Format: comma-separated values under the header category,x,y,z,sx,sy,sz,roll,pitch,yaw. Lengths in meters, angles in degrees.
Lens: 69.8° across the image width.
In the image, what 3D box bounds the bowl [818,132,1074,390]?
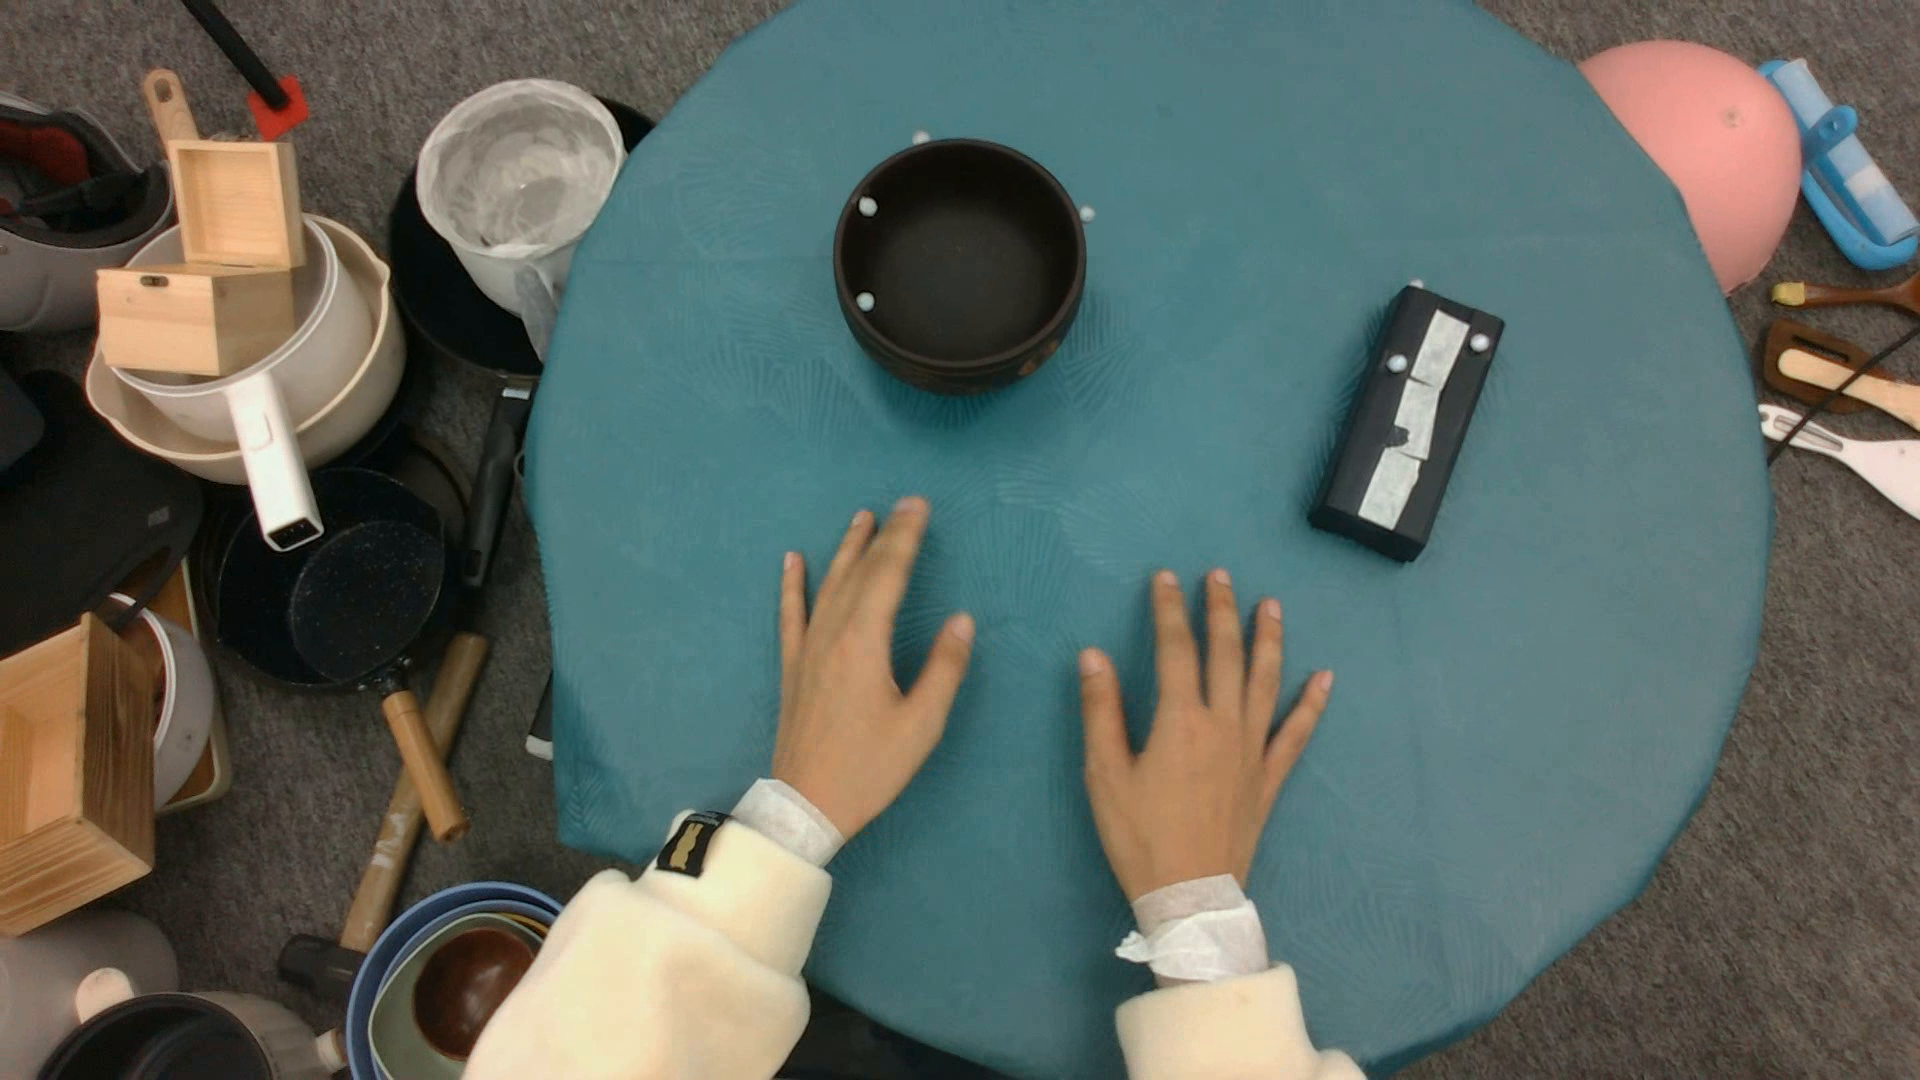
category,x,y,z,sx,sy,sz,roll,pitch,yaw
bowl,-0.007,-0.125,0.653,0.118,0.069,0.118,0,75,-1

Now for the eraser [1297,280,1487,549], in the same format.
category,x,y,z,sx,sy,sz,roll,pitch,yaw
eraser,0.207,-0.062,0.663,0.053,0.030,0.126,22,77,6
